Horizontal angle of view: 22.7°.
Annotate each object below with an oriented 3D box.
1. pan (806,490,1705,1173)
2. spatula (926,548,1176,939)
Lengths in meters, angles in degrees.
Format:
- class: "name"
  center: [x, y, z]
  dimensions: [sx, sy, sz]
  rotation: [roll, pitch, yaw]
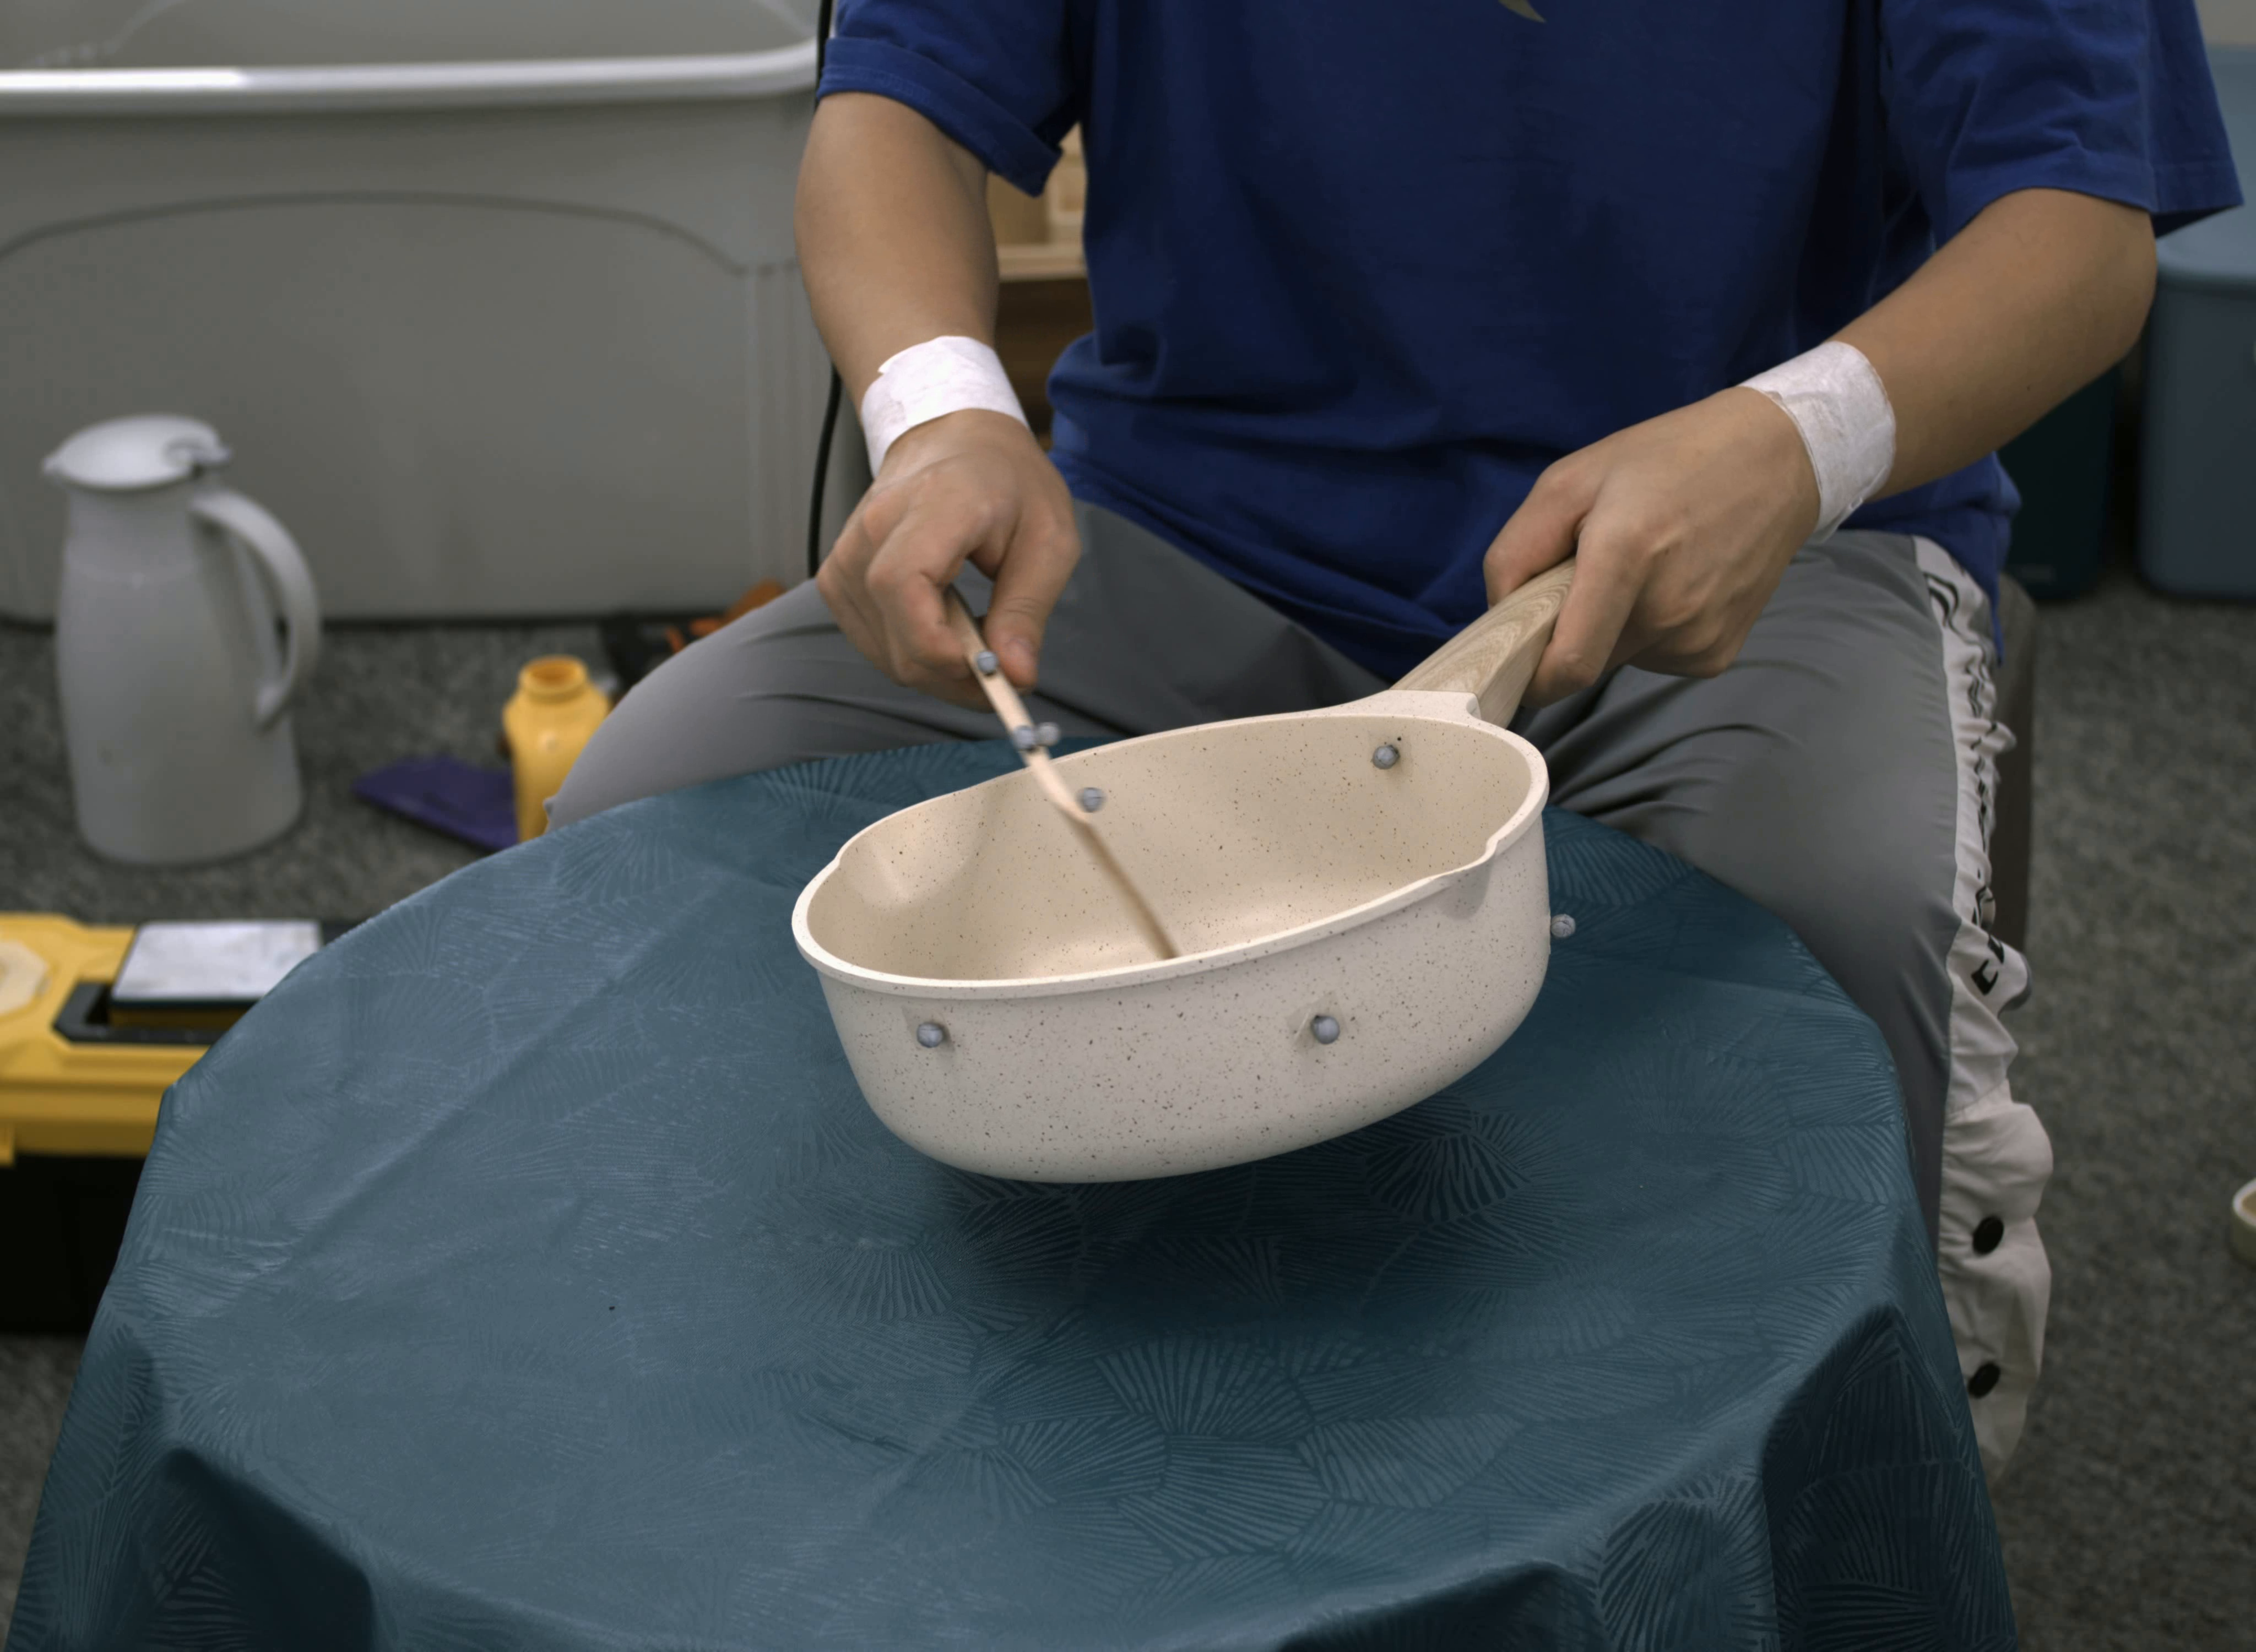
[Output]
- class: "pan"
  center: [0.080, 0.001, 1.900]
  dimensions: [0.261, 0.101, 0.441]
  rotation: [0, 20, 40]
- class: "spatula"
  center: [-0.033, -0.035, 1.911]
  dimensions: [0.010, 0.072, 0.296]
  rotation: [-33, 27, 1]
